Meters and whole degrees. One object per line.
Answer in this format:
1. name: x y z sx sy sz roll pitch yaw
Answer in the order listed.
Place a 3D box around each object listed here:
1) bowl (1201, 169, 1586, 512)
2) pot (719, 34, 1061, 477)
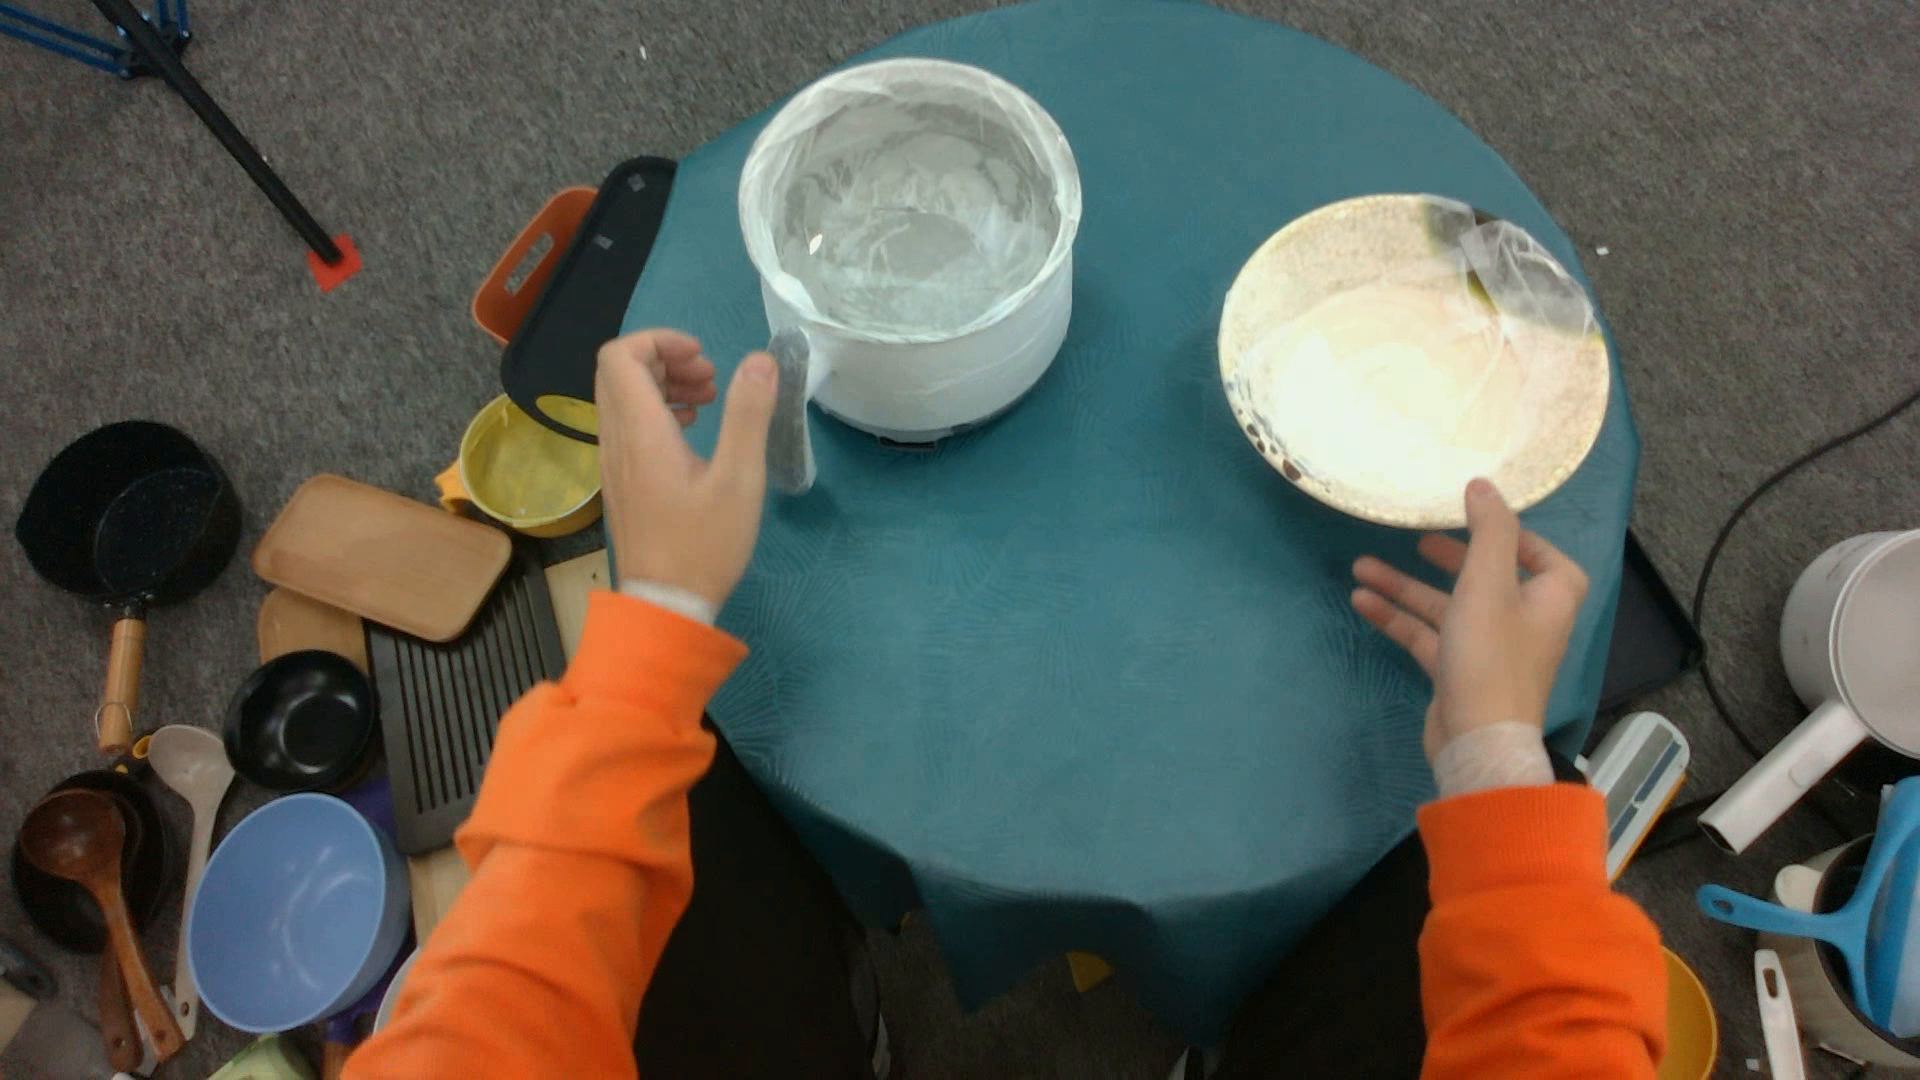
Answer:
1. bowl: 0.233 -0.100 0.772 0.204 0.078 0.204 0 72 2
2. pot: -0.050 -0.144 0.758 0.179 0.136 0.234 30 71 12
